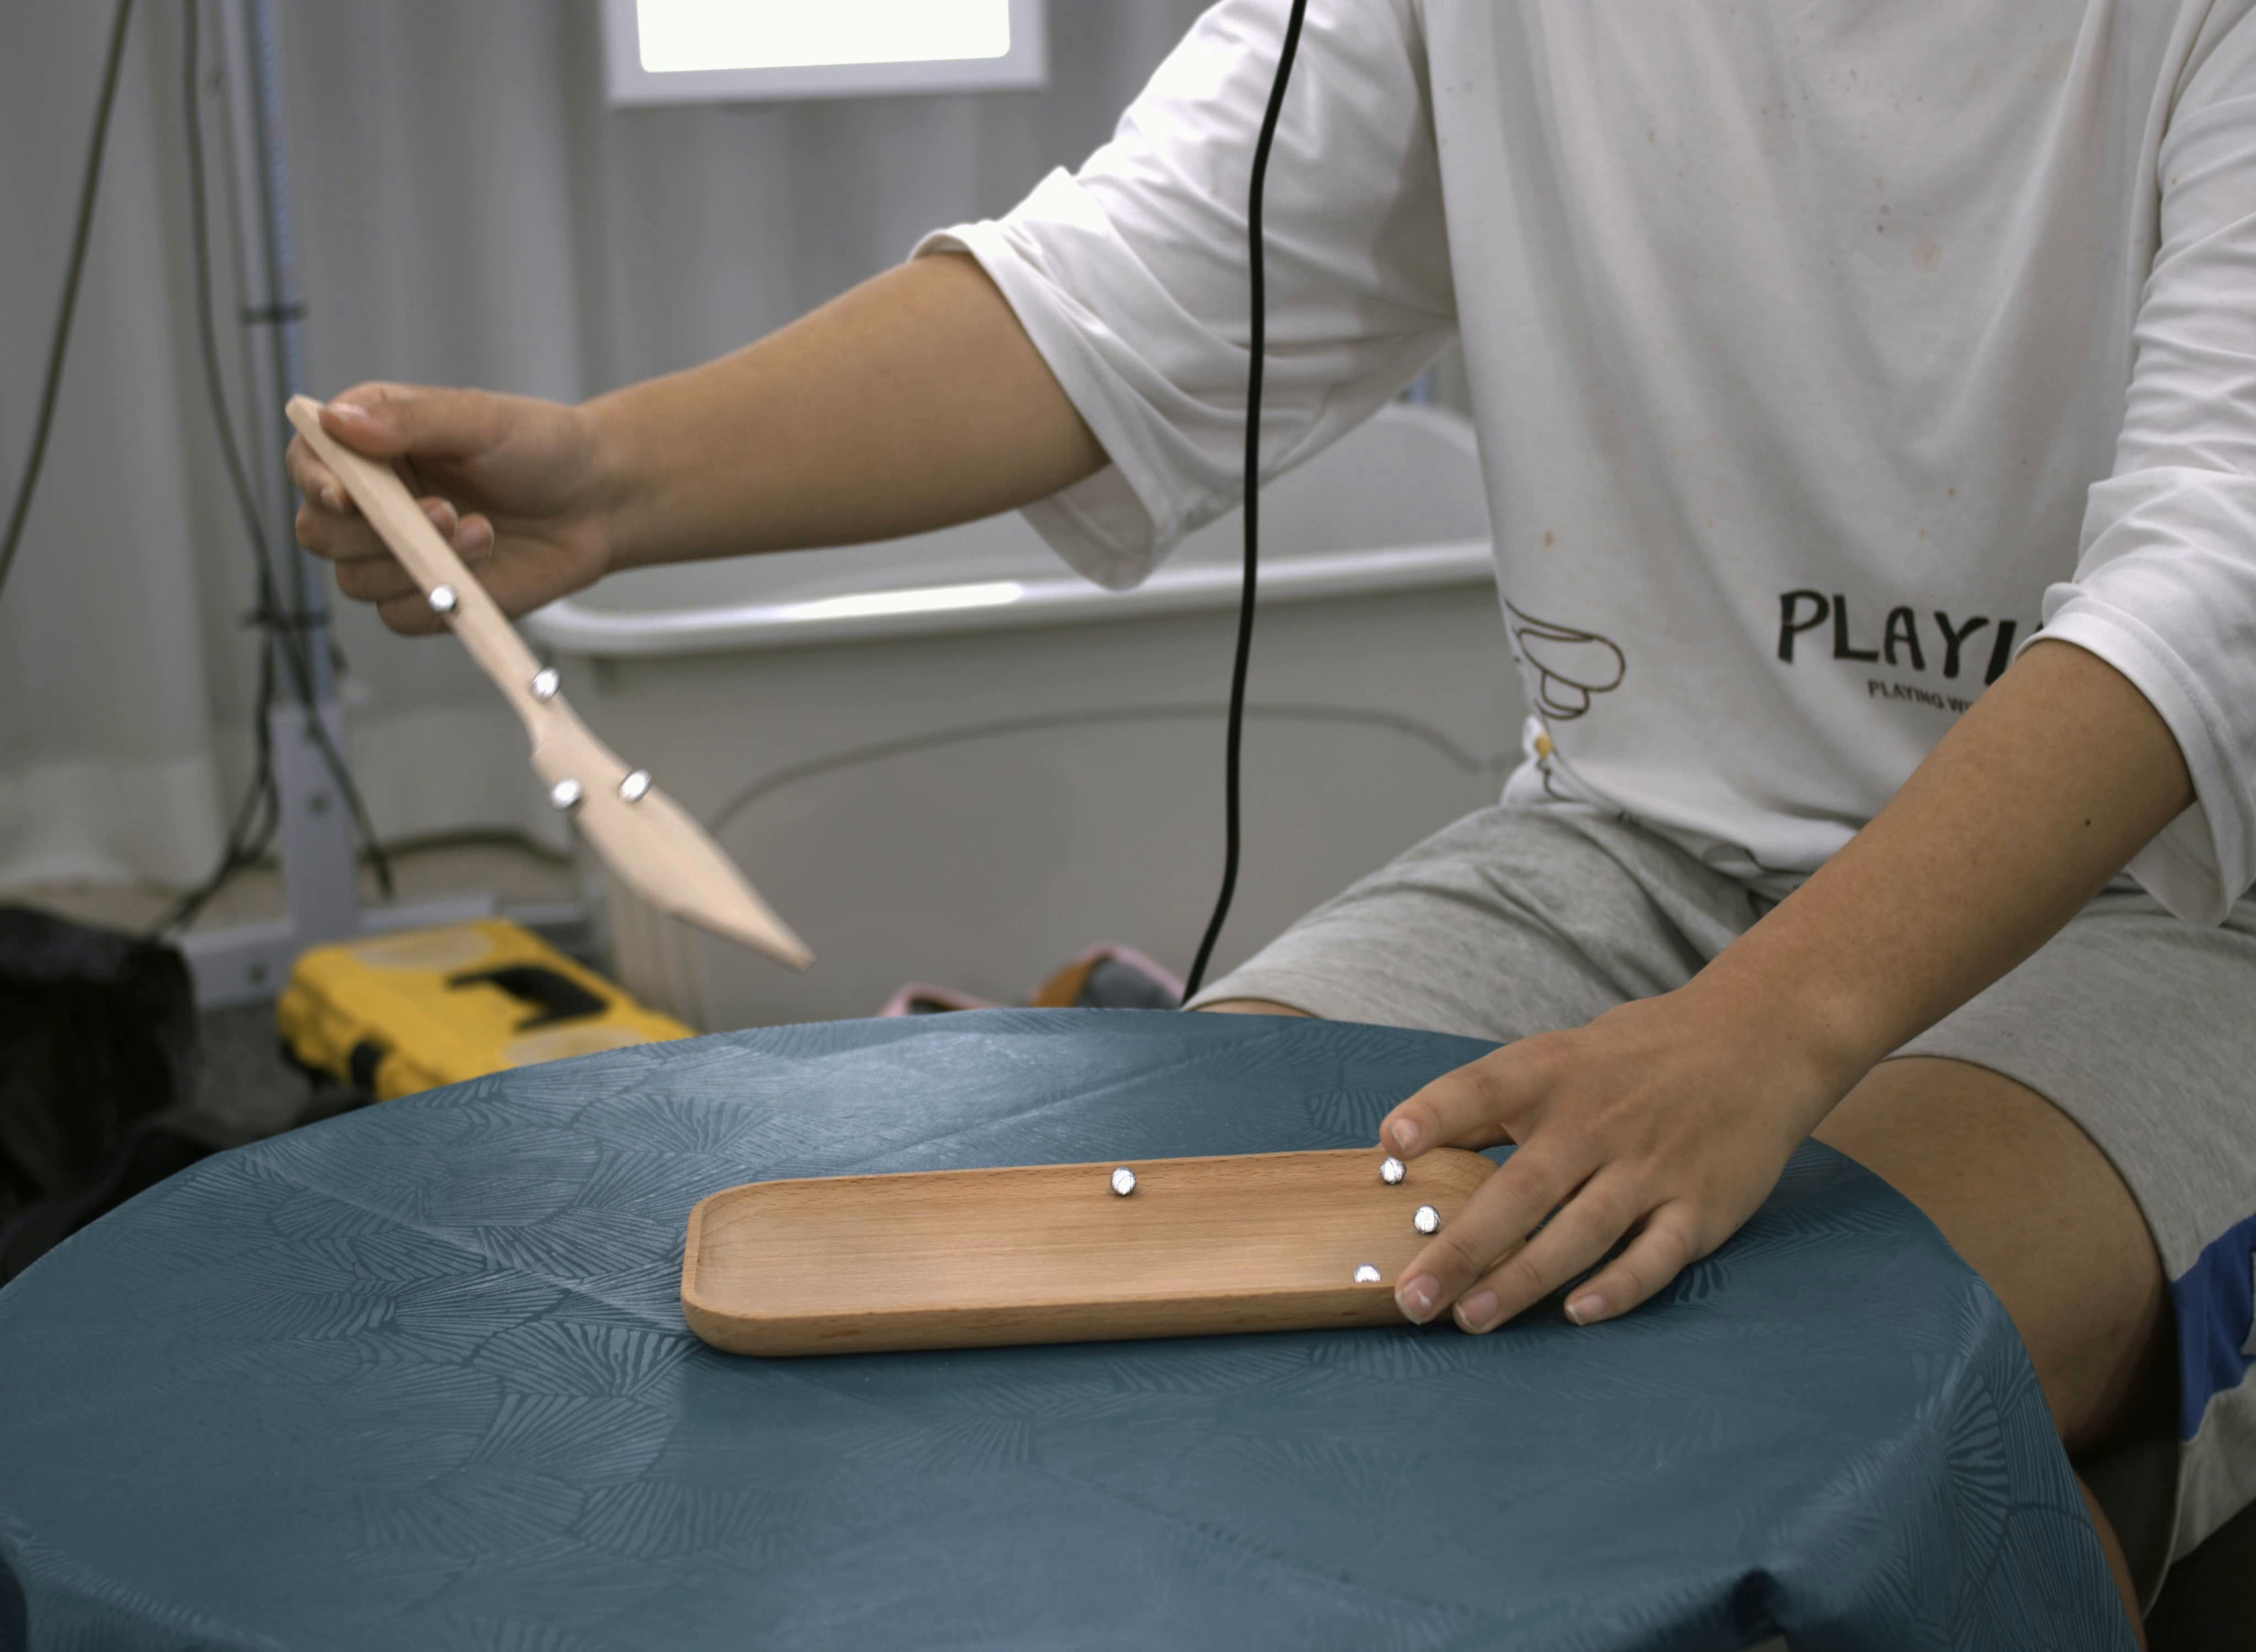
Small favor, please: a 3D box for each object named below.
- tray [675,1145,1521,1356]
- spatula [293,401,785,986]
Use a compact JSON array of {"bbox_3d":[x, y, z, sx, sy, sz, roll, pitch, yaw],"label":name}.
[{"bbox_3d":[-0.009,0.127,1.642,0.250,0.023,0.131,-3,12,0],"label":"tray"},{"bbox_3d":[-0.198,-0.048,1.733,0.071,0.010,0.297,27,19,-49],"label":"spatula"}]
